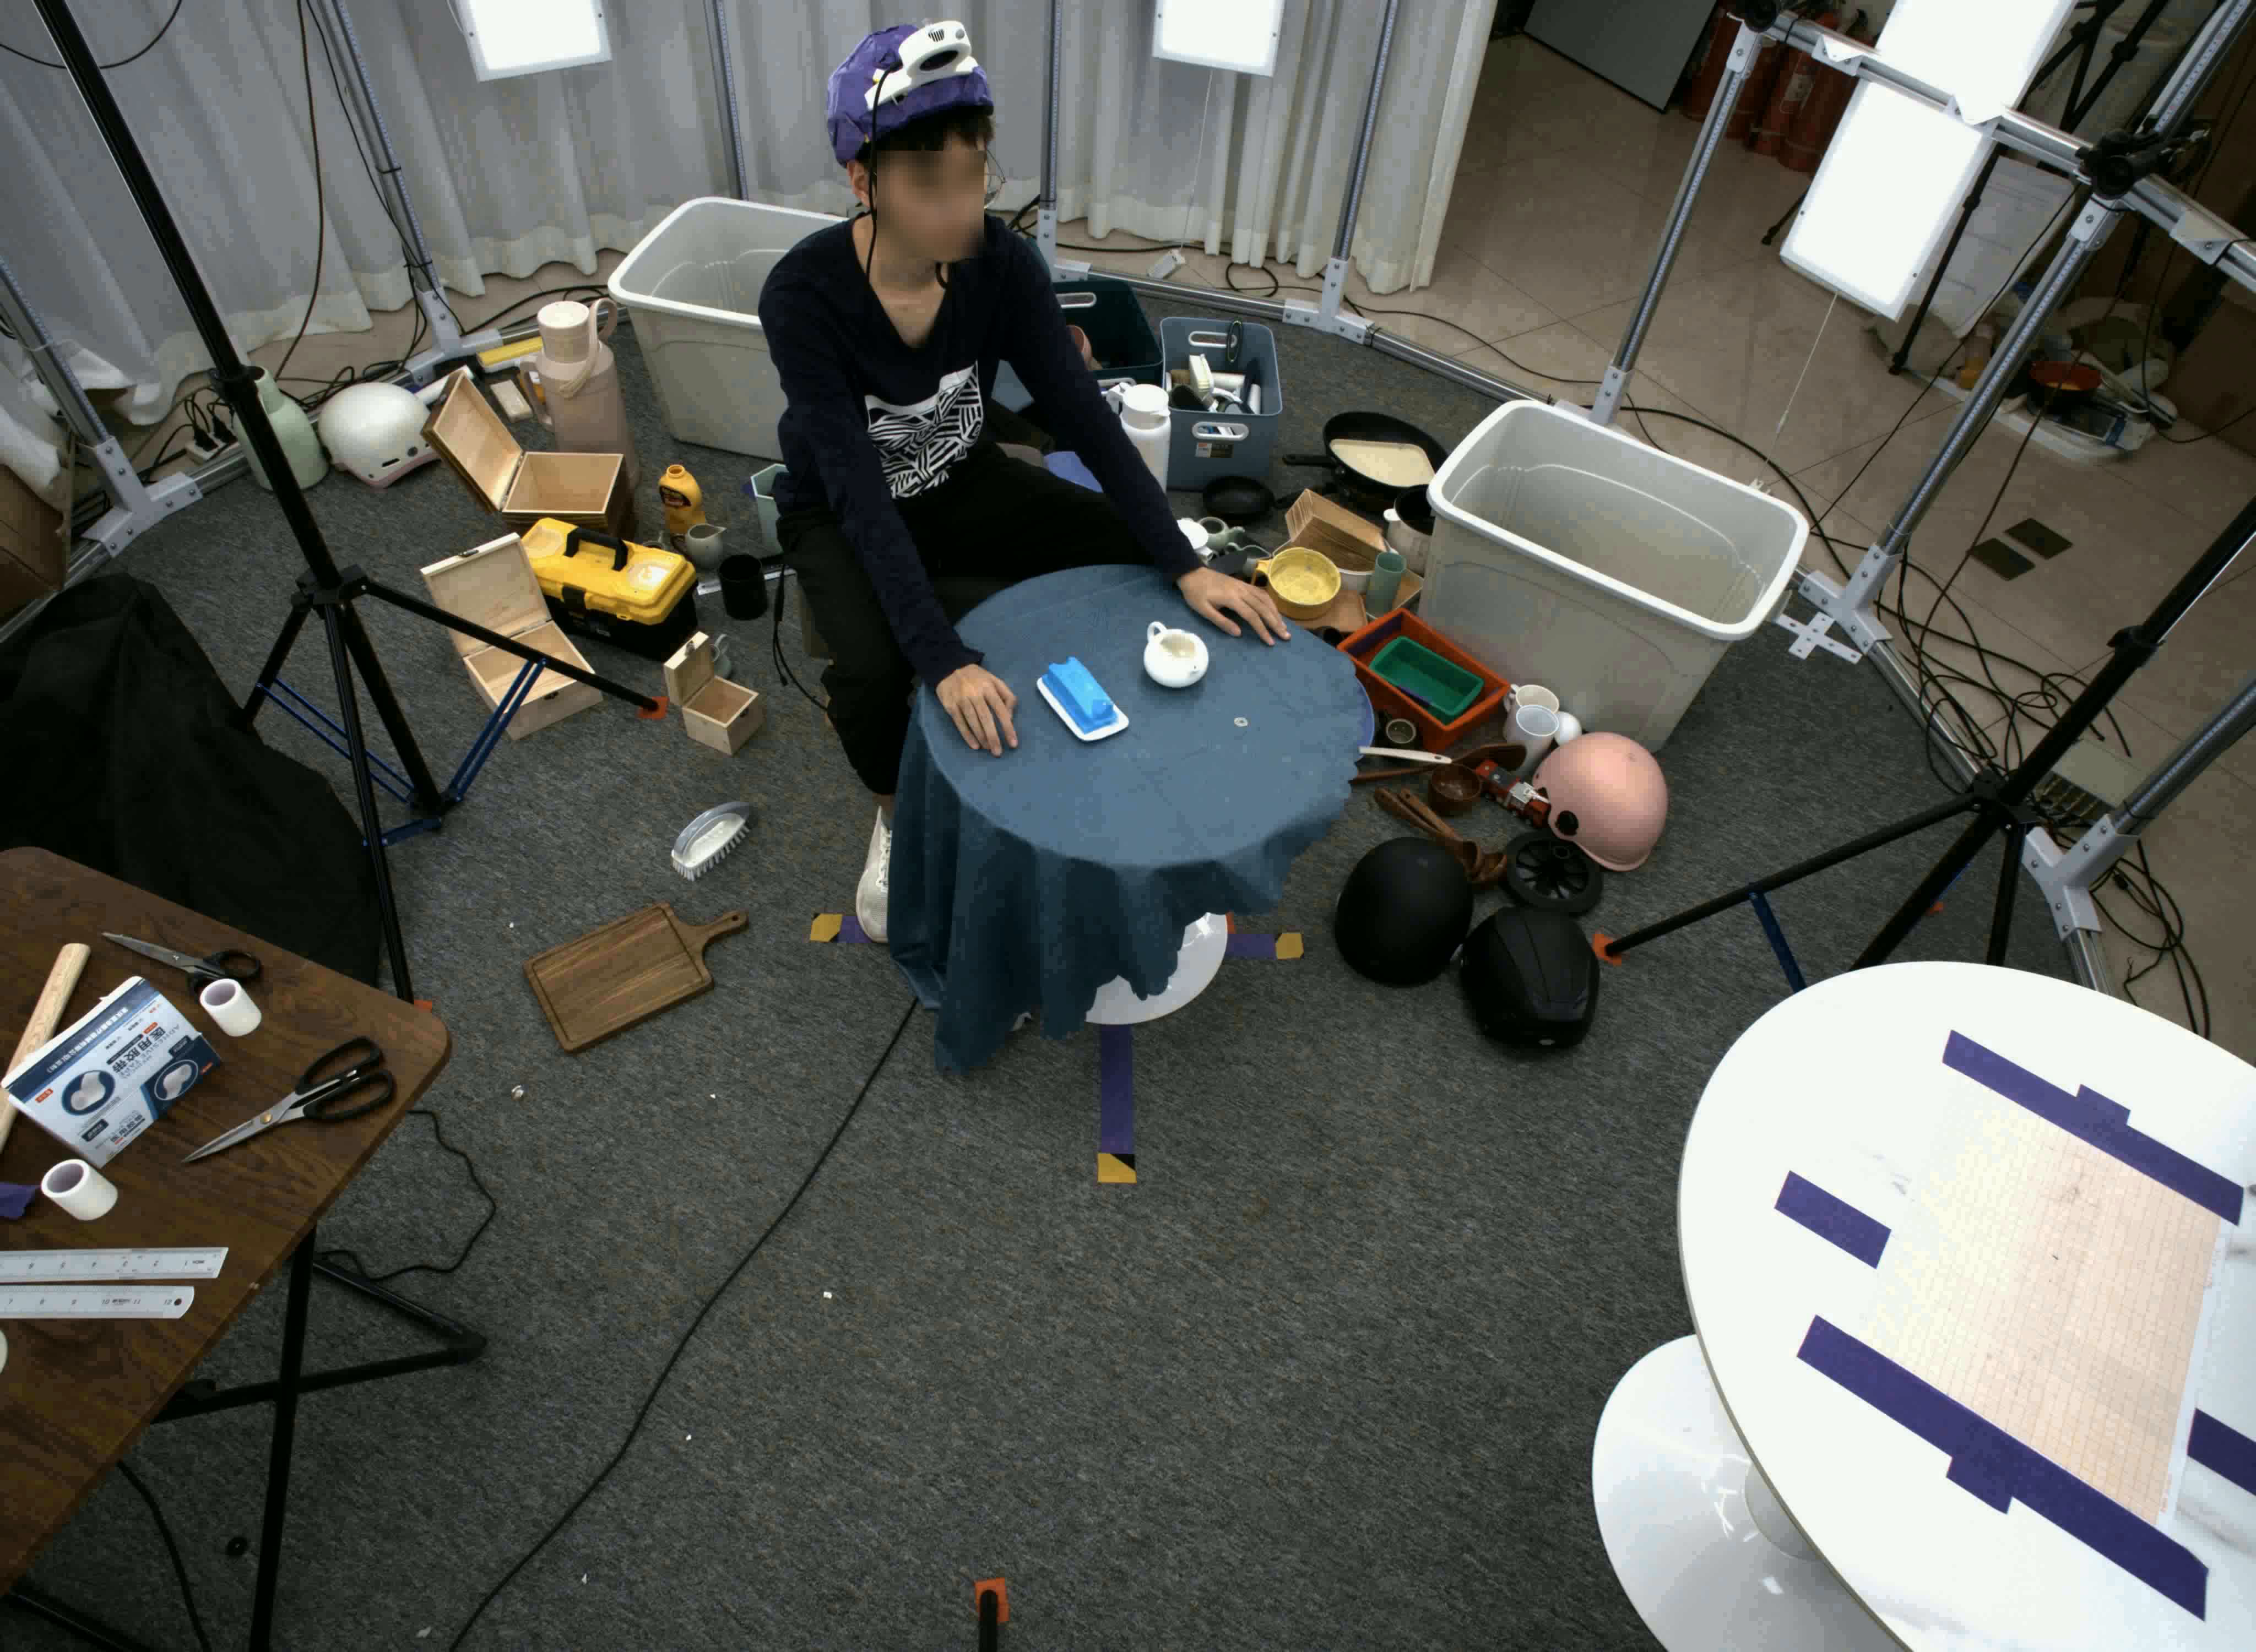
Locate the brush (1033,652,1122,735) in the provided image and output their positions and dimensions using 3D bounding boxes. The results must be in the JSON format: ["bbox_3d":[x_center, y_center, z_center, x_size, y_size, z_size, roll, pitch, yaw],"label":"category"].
[{"bbox_3d":[-0.068,-0.191,1.790,0.084,0.054,0.147,-19,54,-23],"label":"brush"}]

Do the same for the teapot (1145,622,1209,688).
[{"bbox_3d":[0.064,-0.248,1.852,0.094,0.055,0.130,-28,55,-22],"label":"teapot"}]
